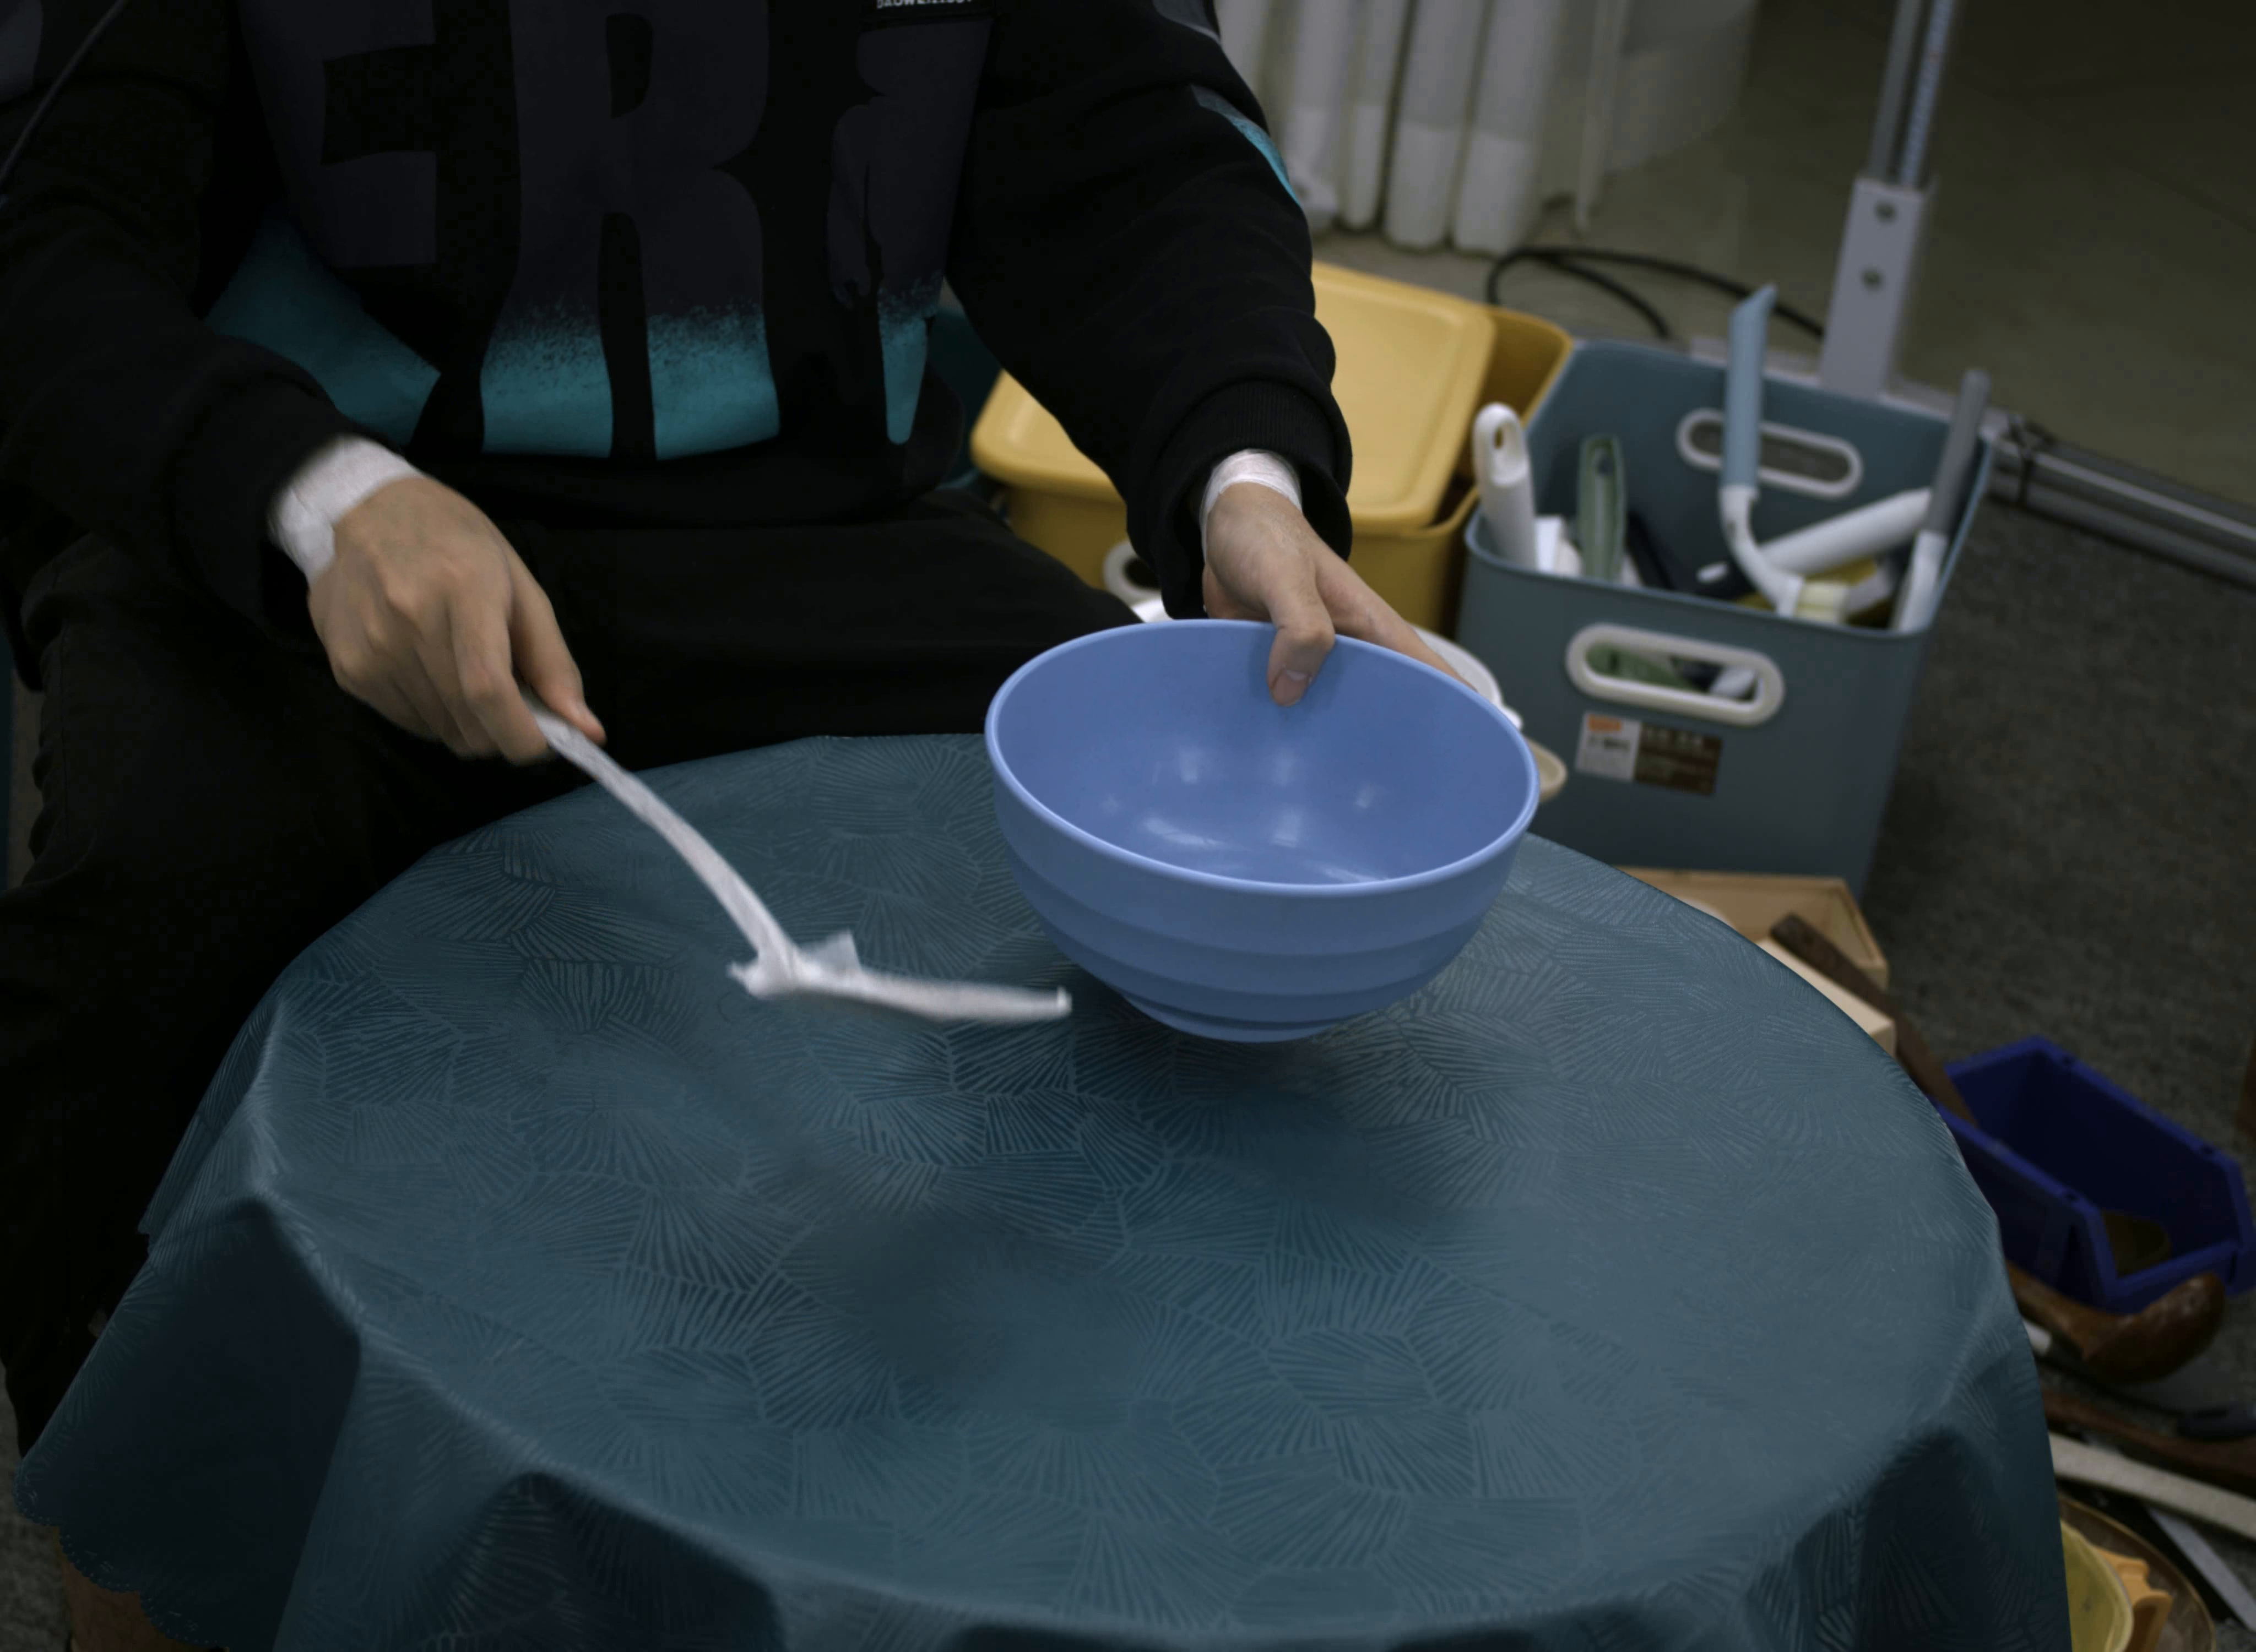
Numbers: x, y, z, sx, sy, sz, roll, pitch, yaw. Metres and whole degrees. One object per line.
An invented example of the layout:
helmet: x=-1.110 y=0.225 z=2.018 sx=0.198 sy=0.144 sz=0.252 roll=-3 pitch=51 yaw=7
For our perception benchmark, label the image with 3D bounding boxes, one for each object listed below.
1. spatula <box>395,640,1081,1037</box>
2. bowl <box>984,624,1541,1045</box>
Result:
spatula: x=-0.154 y=-0.002 z=1.804 sx=0.098 sy=0.045 sz=0.368 roll=3 pitch=25 yaw=-42
bowl: x=0.044 y=0.014 z=1.884 sx=0.196 sy=0.095 sz=0.198 roll=4 pitch=29 yaw=-2
